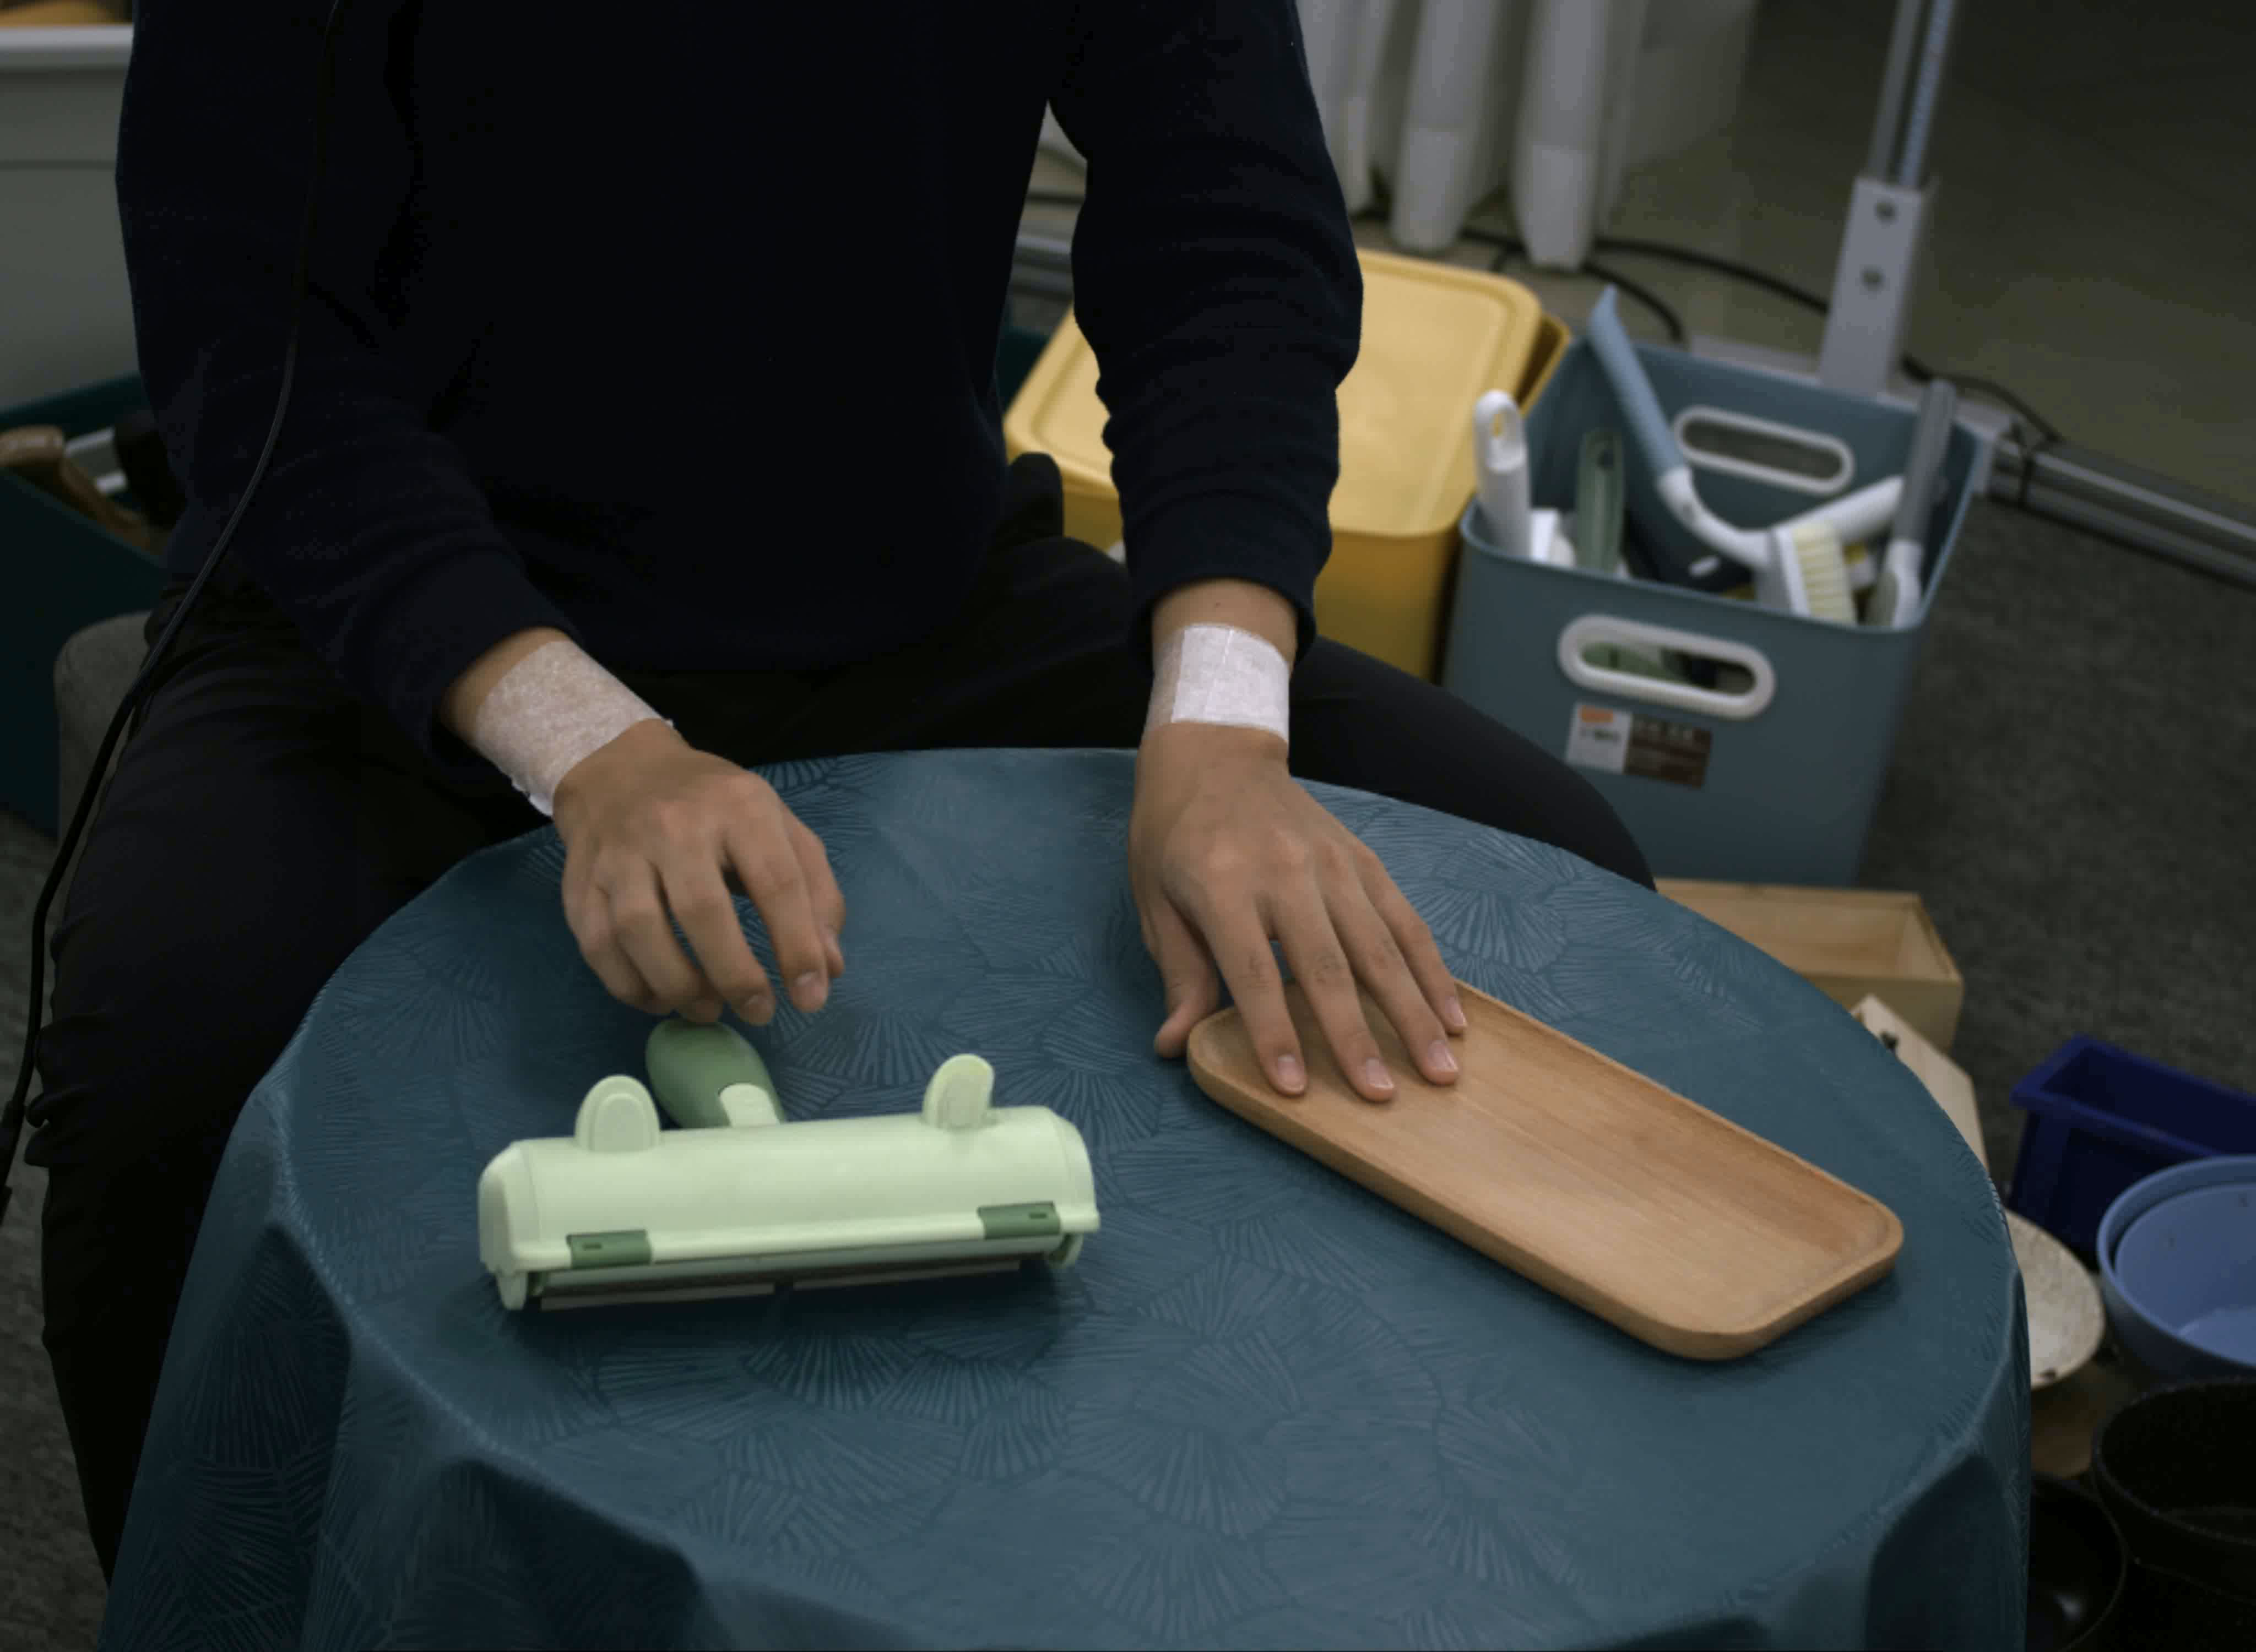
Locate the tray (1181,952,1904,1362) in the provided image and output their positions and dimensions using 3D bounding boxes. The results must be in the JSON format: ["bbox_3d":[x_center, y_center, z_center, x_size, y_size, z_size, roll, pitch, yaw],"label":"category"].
[{"bbox_3d":[0.140,0.112,1.839,0.252,0.023,0.130,27,31,36],"label":"tray"}]

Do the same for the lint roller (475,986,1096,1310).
[{"bbox_3d":[-0.126,0.085,1.754,0.197,0.082,0.185,-3,34,-19],"label":"lint roller"}]
